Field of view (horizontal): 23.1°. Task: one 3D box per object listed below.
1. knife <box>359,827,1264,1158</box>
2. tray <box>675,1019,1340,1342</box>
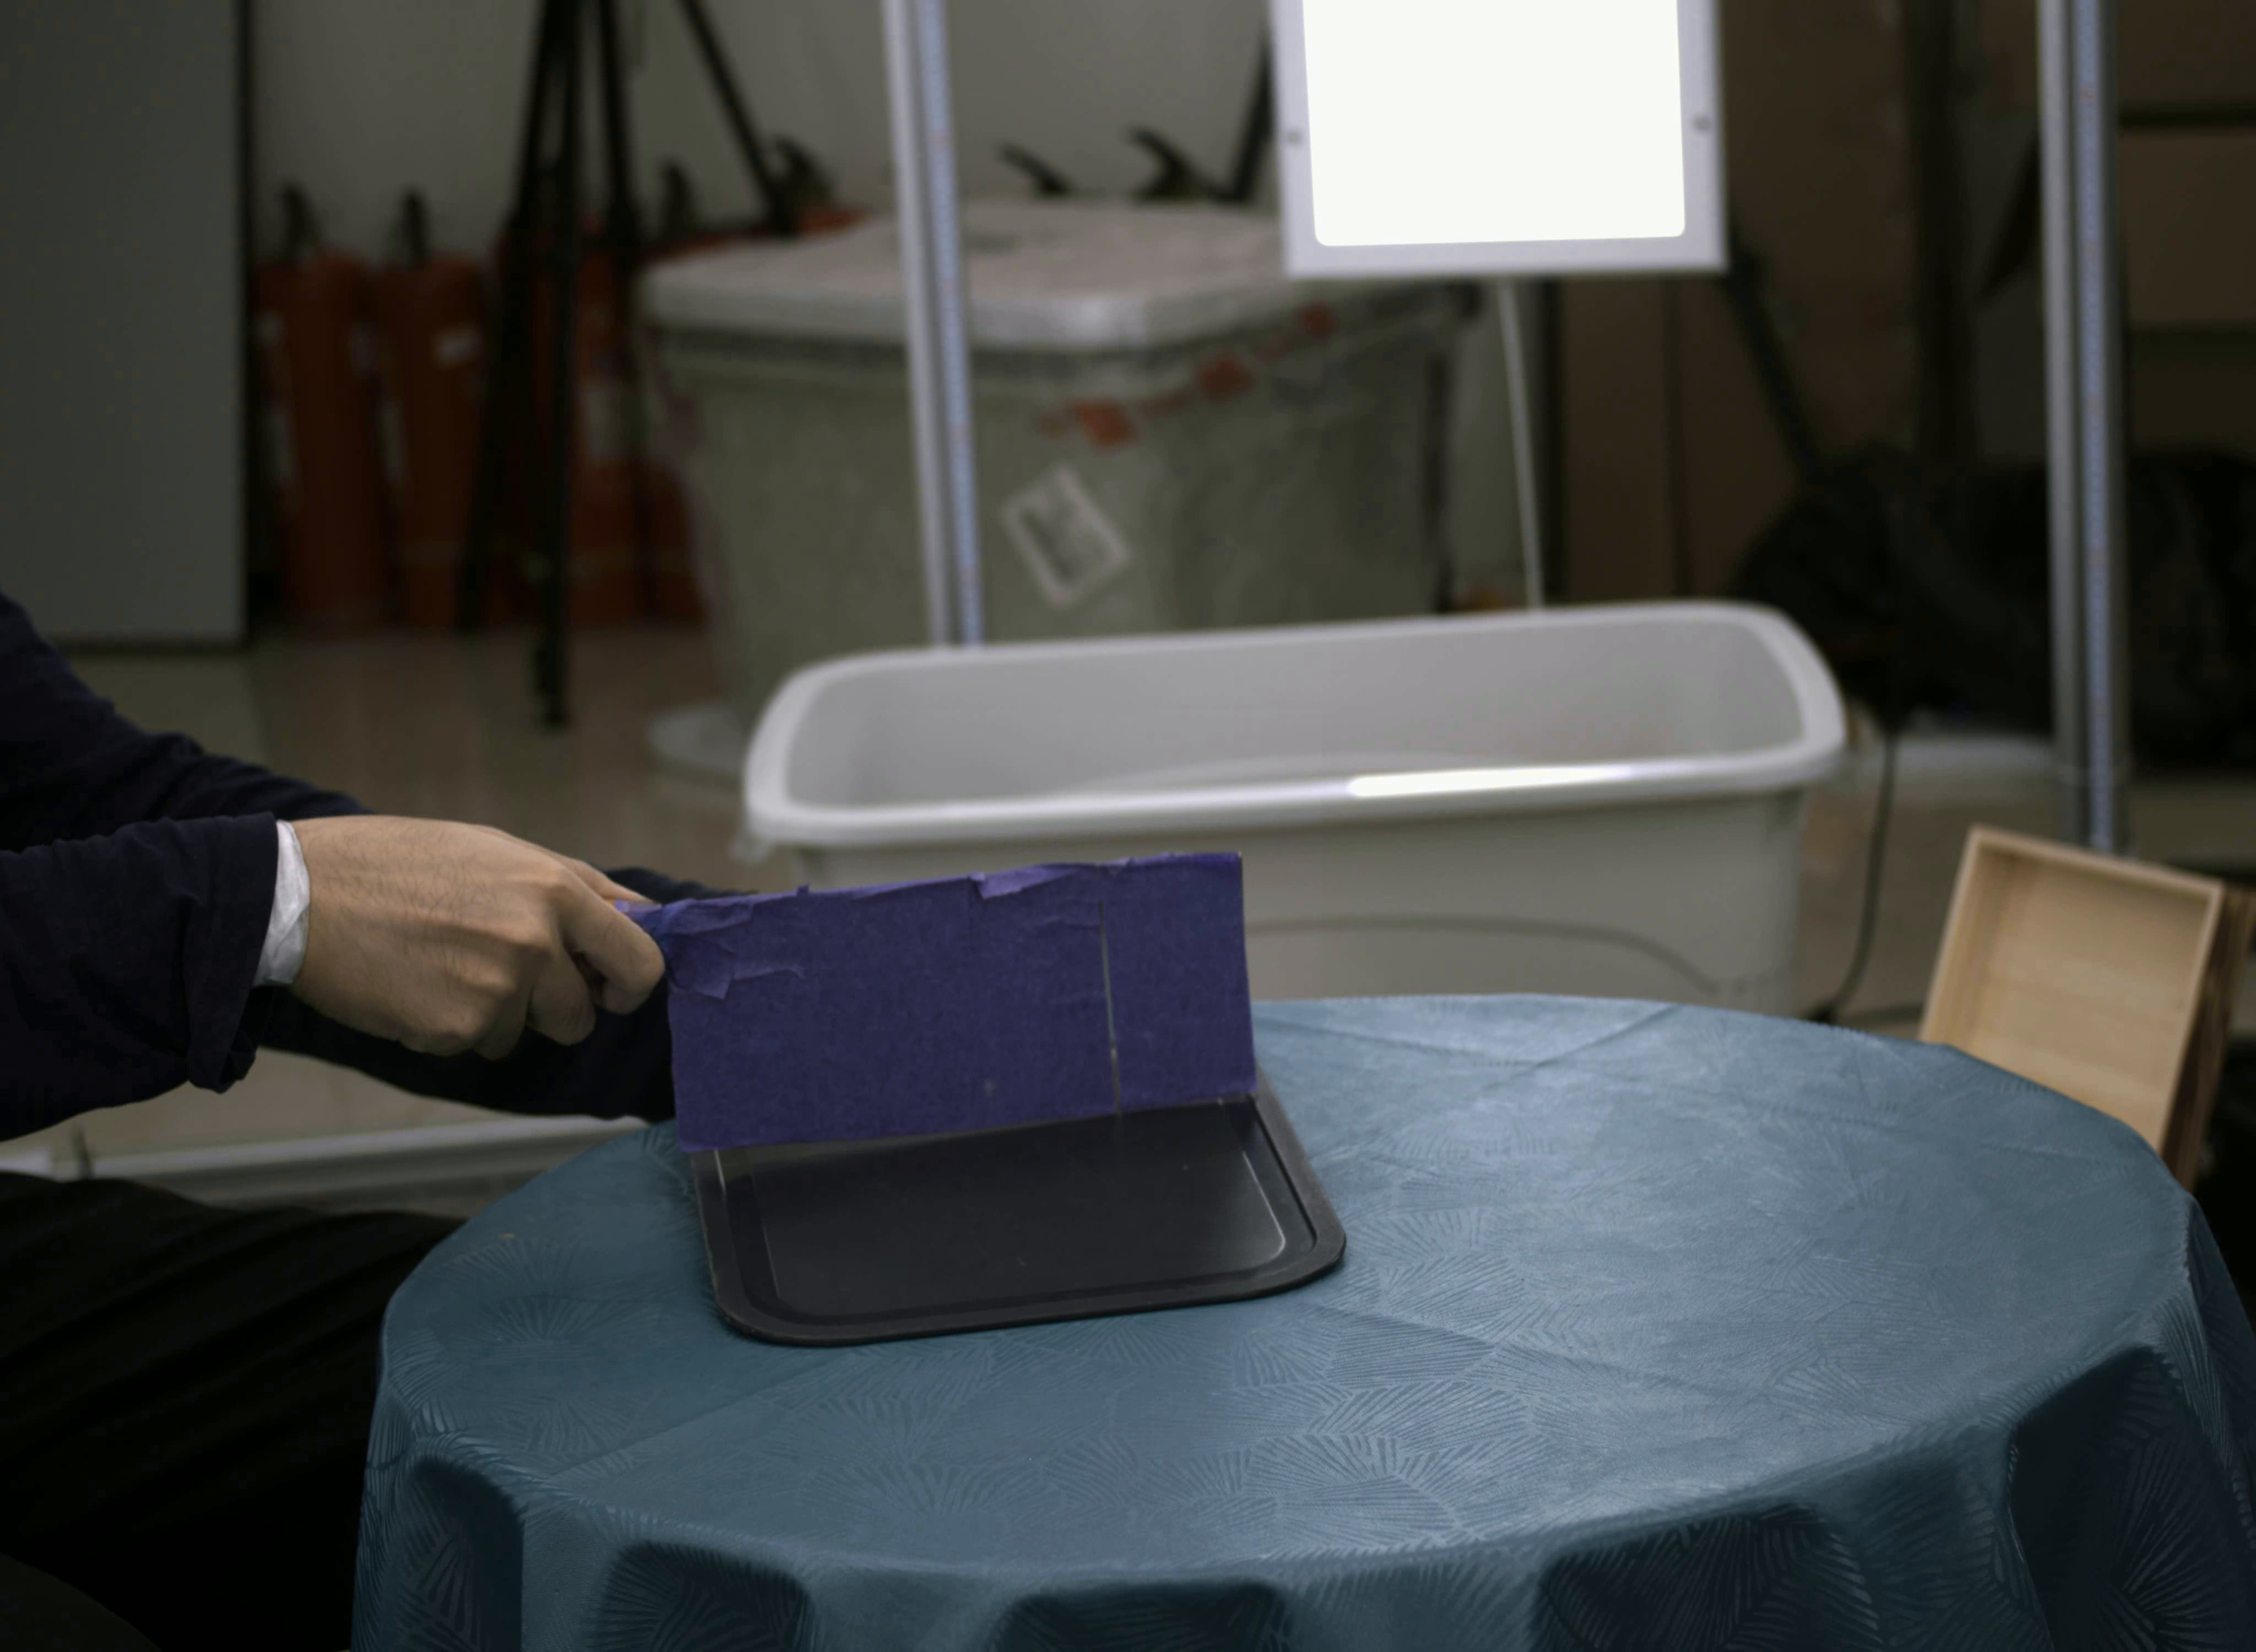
[{"bbox_3d":[-0.106,0.066,1.909,0.312,0.104,0.032,-5,10,-7],"label":"knife"},{"bbox_3d":[-0.049,0.109,1.926,0.209,0.010,0.326,-6,19,-5],"label":"tray"}]
